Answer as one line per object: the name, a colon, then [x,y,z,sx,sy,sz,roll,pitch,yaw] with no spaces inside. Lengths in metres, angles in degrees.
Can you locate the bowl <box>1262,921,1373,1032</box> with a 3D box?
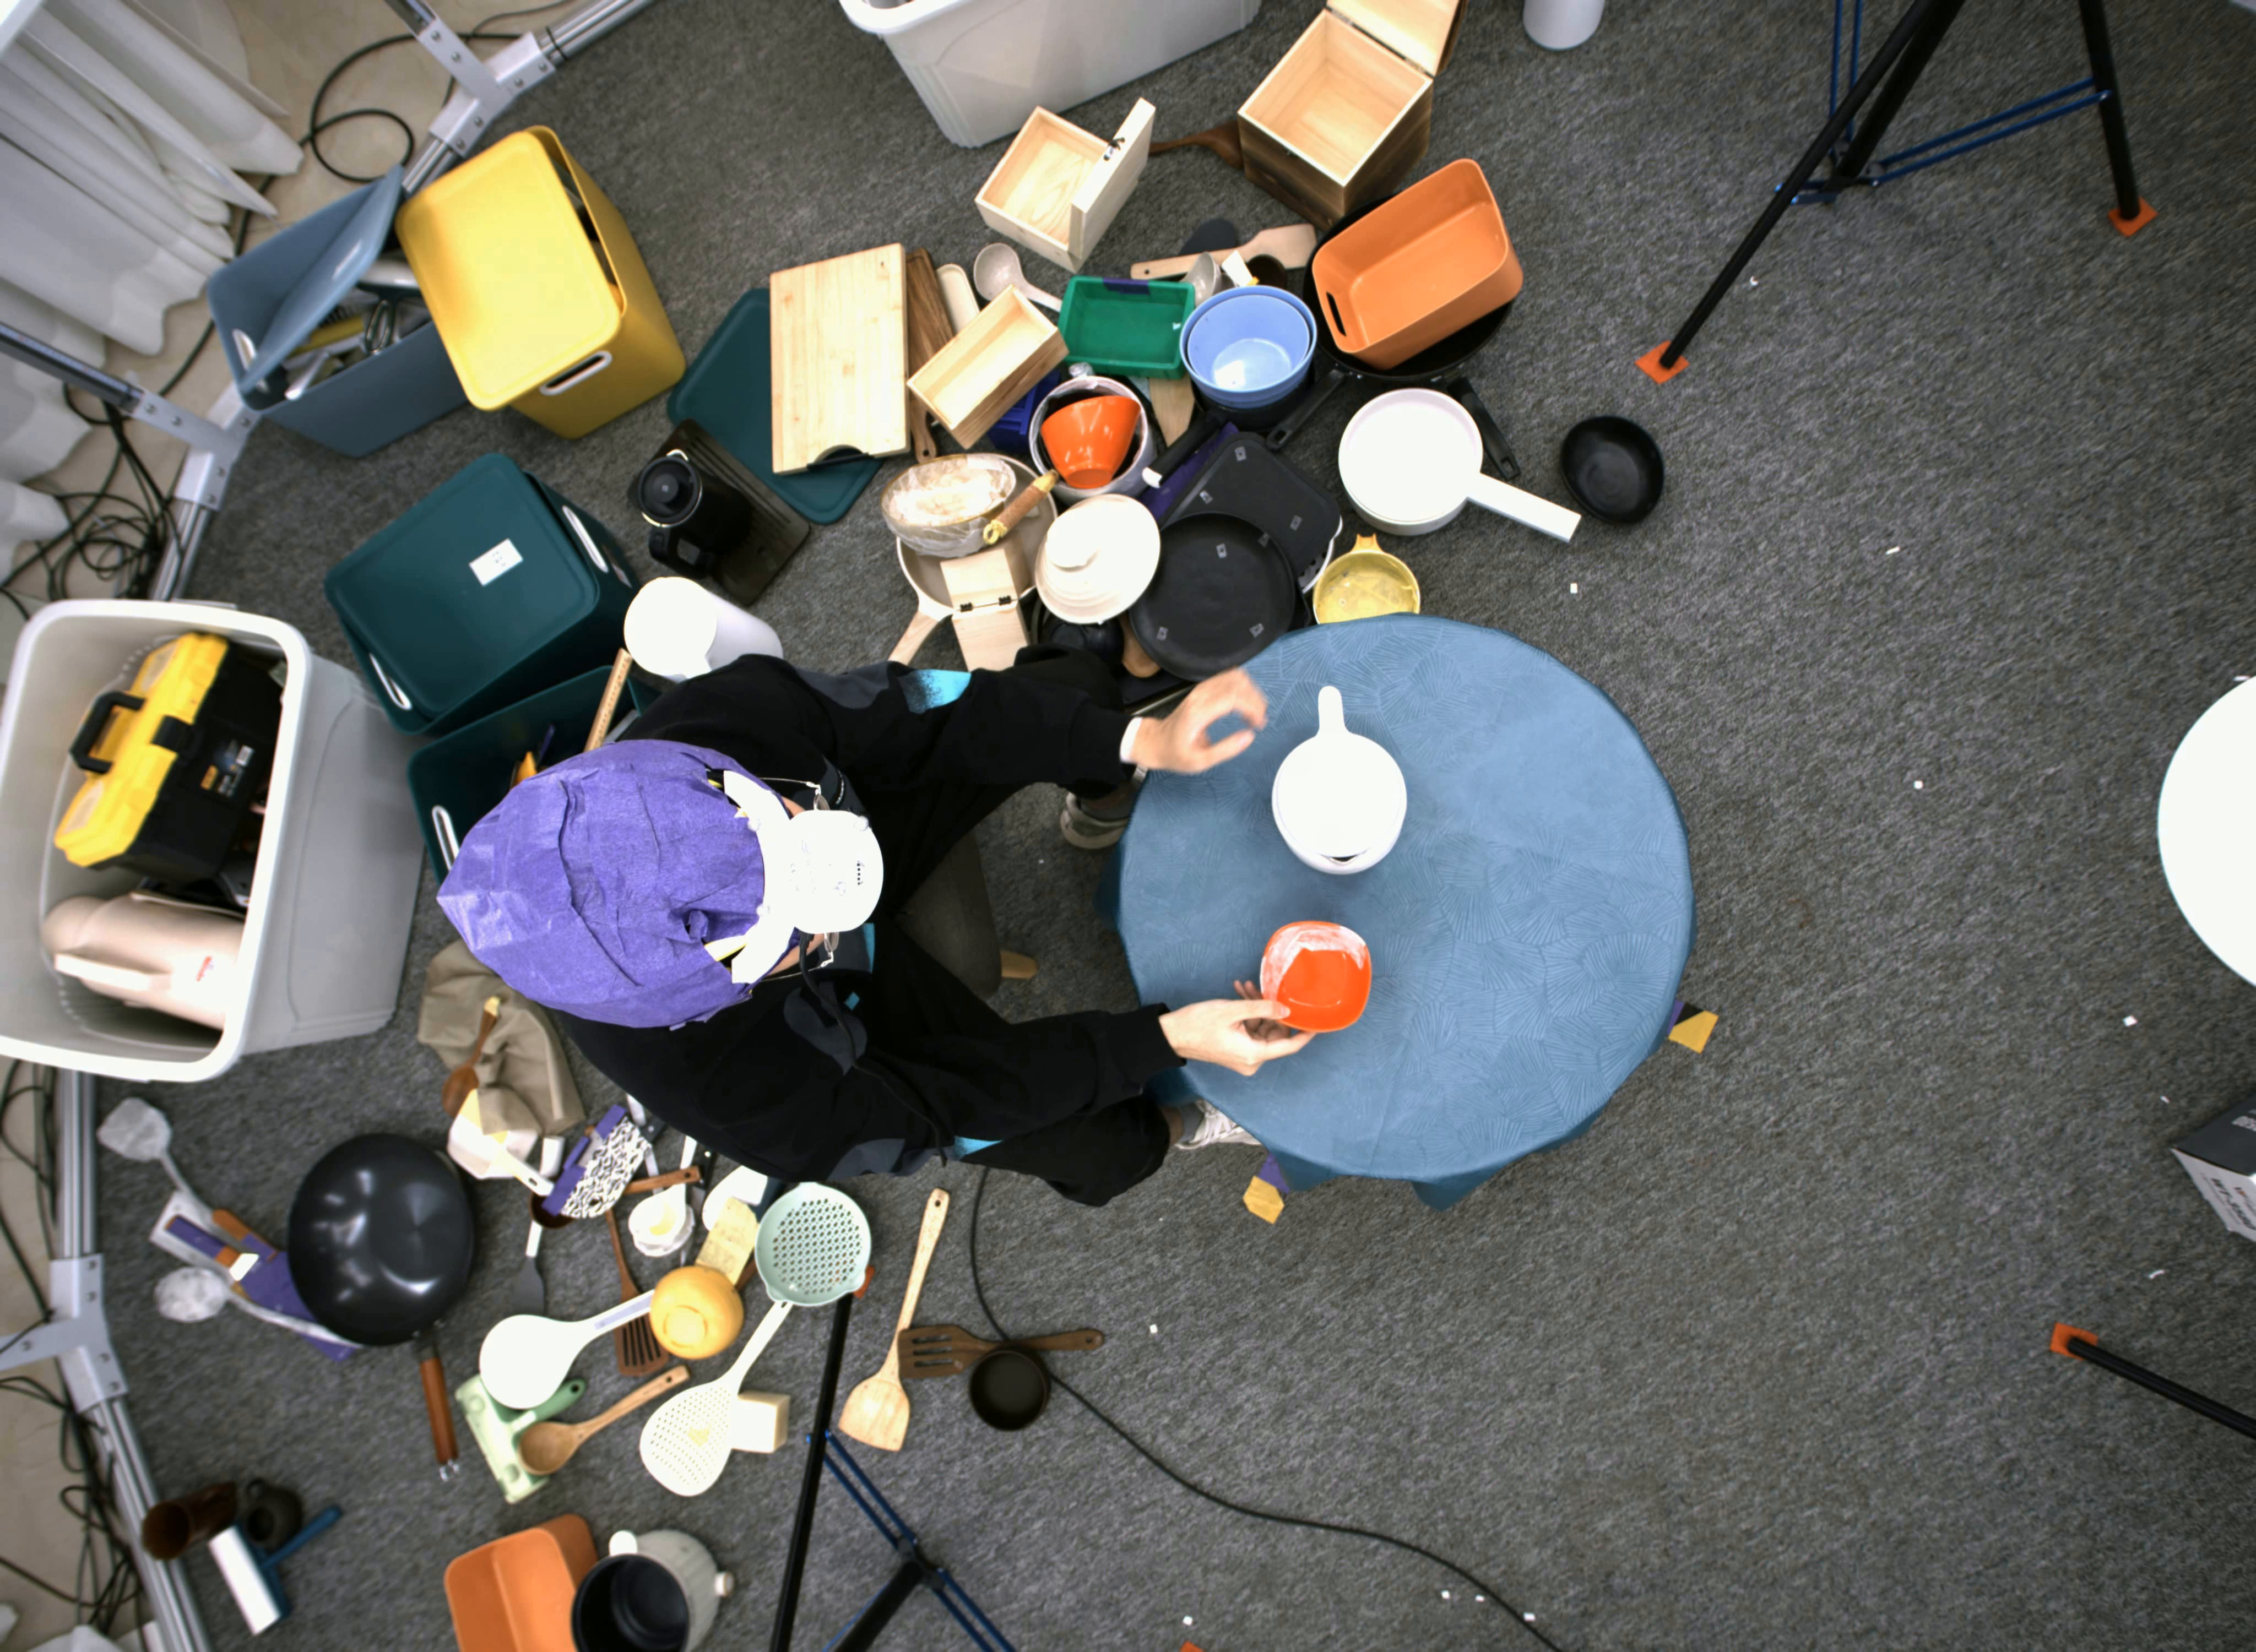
bowl: [0.190,0.150,1.401,0.119,0.051,0.119,0,91,5]

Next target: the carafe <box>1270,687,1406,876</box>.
carafe: [0.208,-0.046,1.387,0.133,0.183,0.189,-7,82,8]
